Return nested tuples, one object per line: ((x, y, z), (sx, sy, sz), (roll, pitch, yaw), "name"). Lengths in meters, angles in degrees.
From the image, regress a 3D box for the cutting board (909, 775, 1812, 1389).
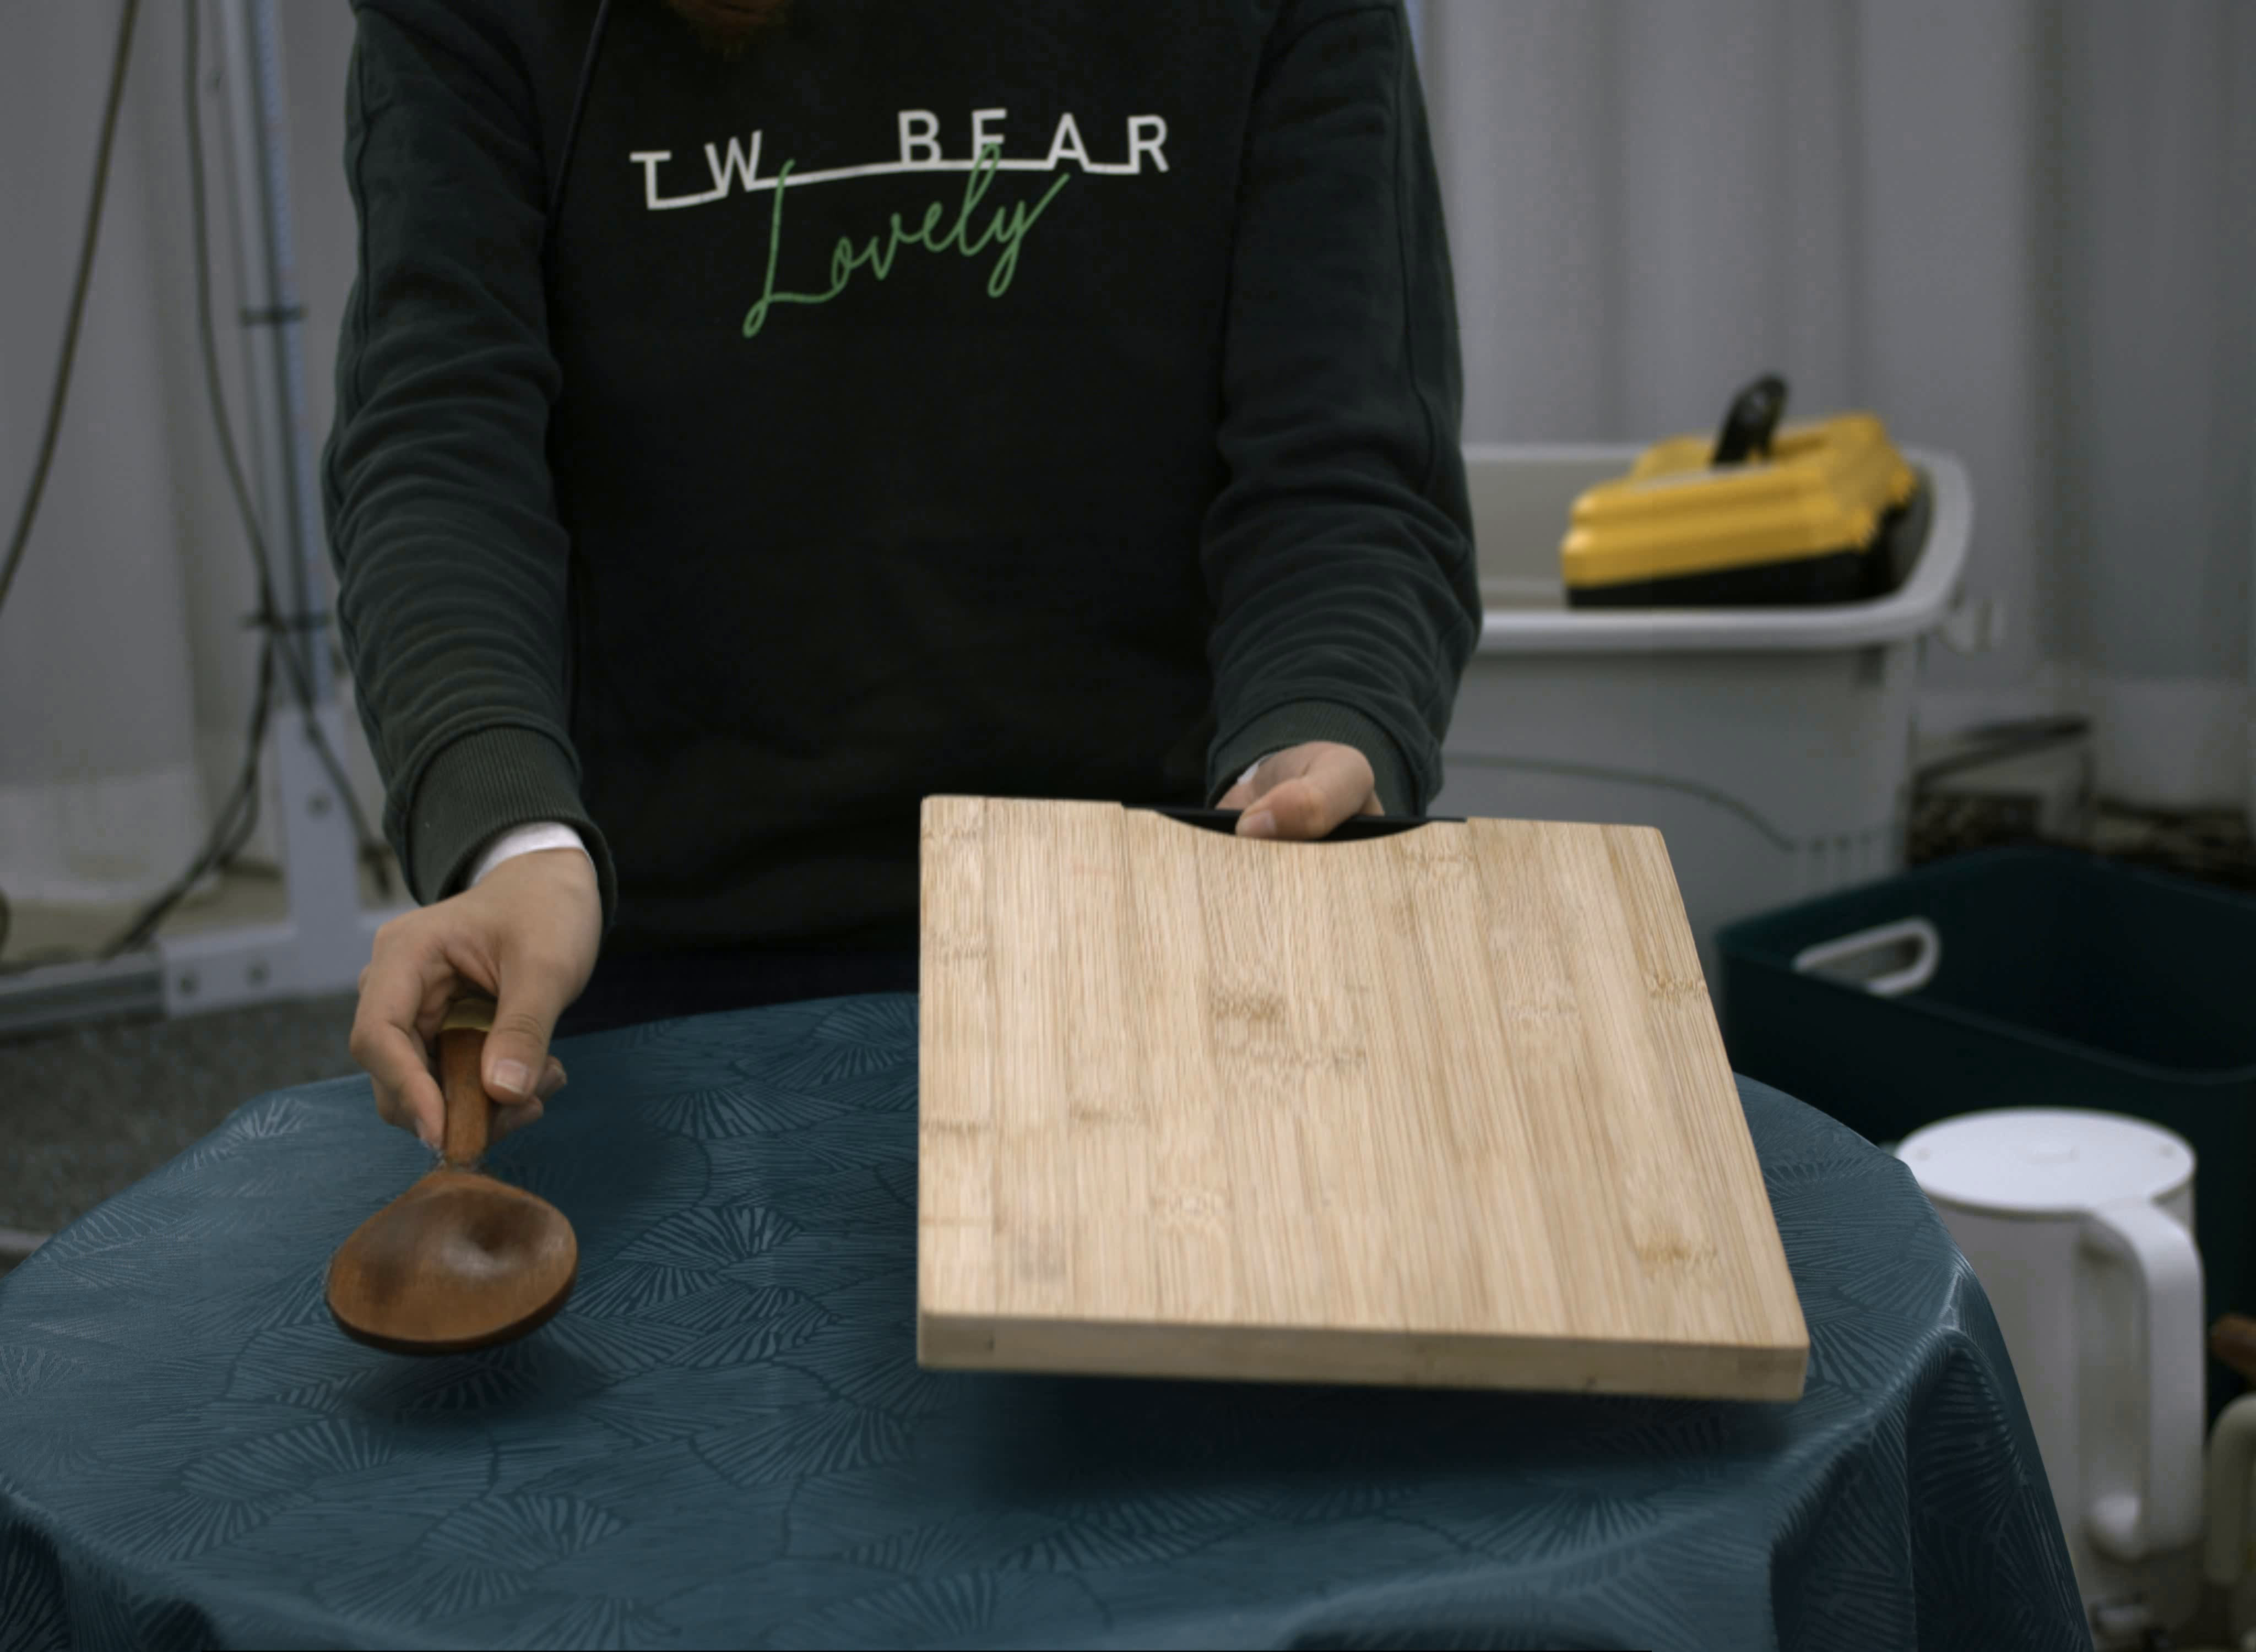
((0.058, 0.068, 1.617), (0.250, 0.023, 0.352), (3, 23, -4), "cutting board")

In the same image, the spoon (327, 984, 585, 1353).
((-0.197, 0.102, 1.633), (0.075, 0.017, 0.218), (-8, 26, -1), "spoon")
